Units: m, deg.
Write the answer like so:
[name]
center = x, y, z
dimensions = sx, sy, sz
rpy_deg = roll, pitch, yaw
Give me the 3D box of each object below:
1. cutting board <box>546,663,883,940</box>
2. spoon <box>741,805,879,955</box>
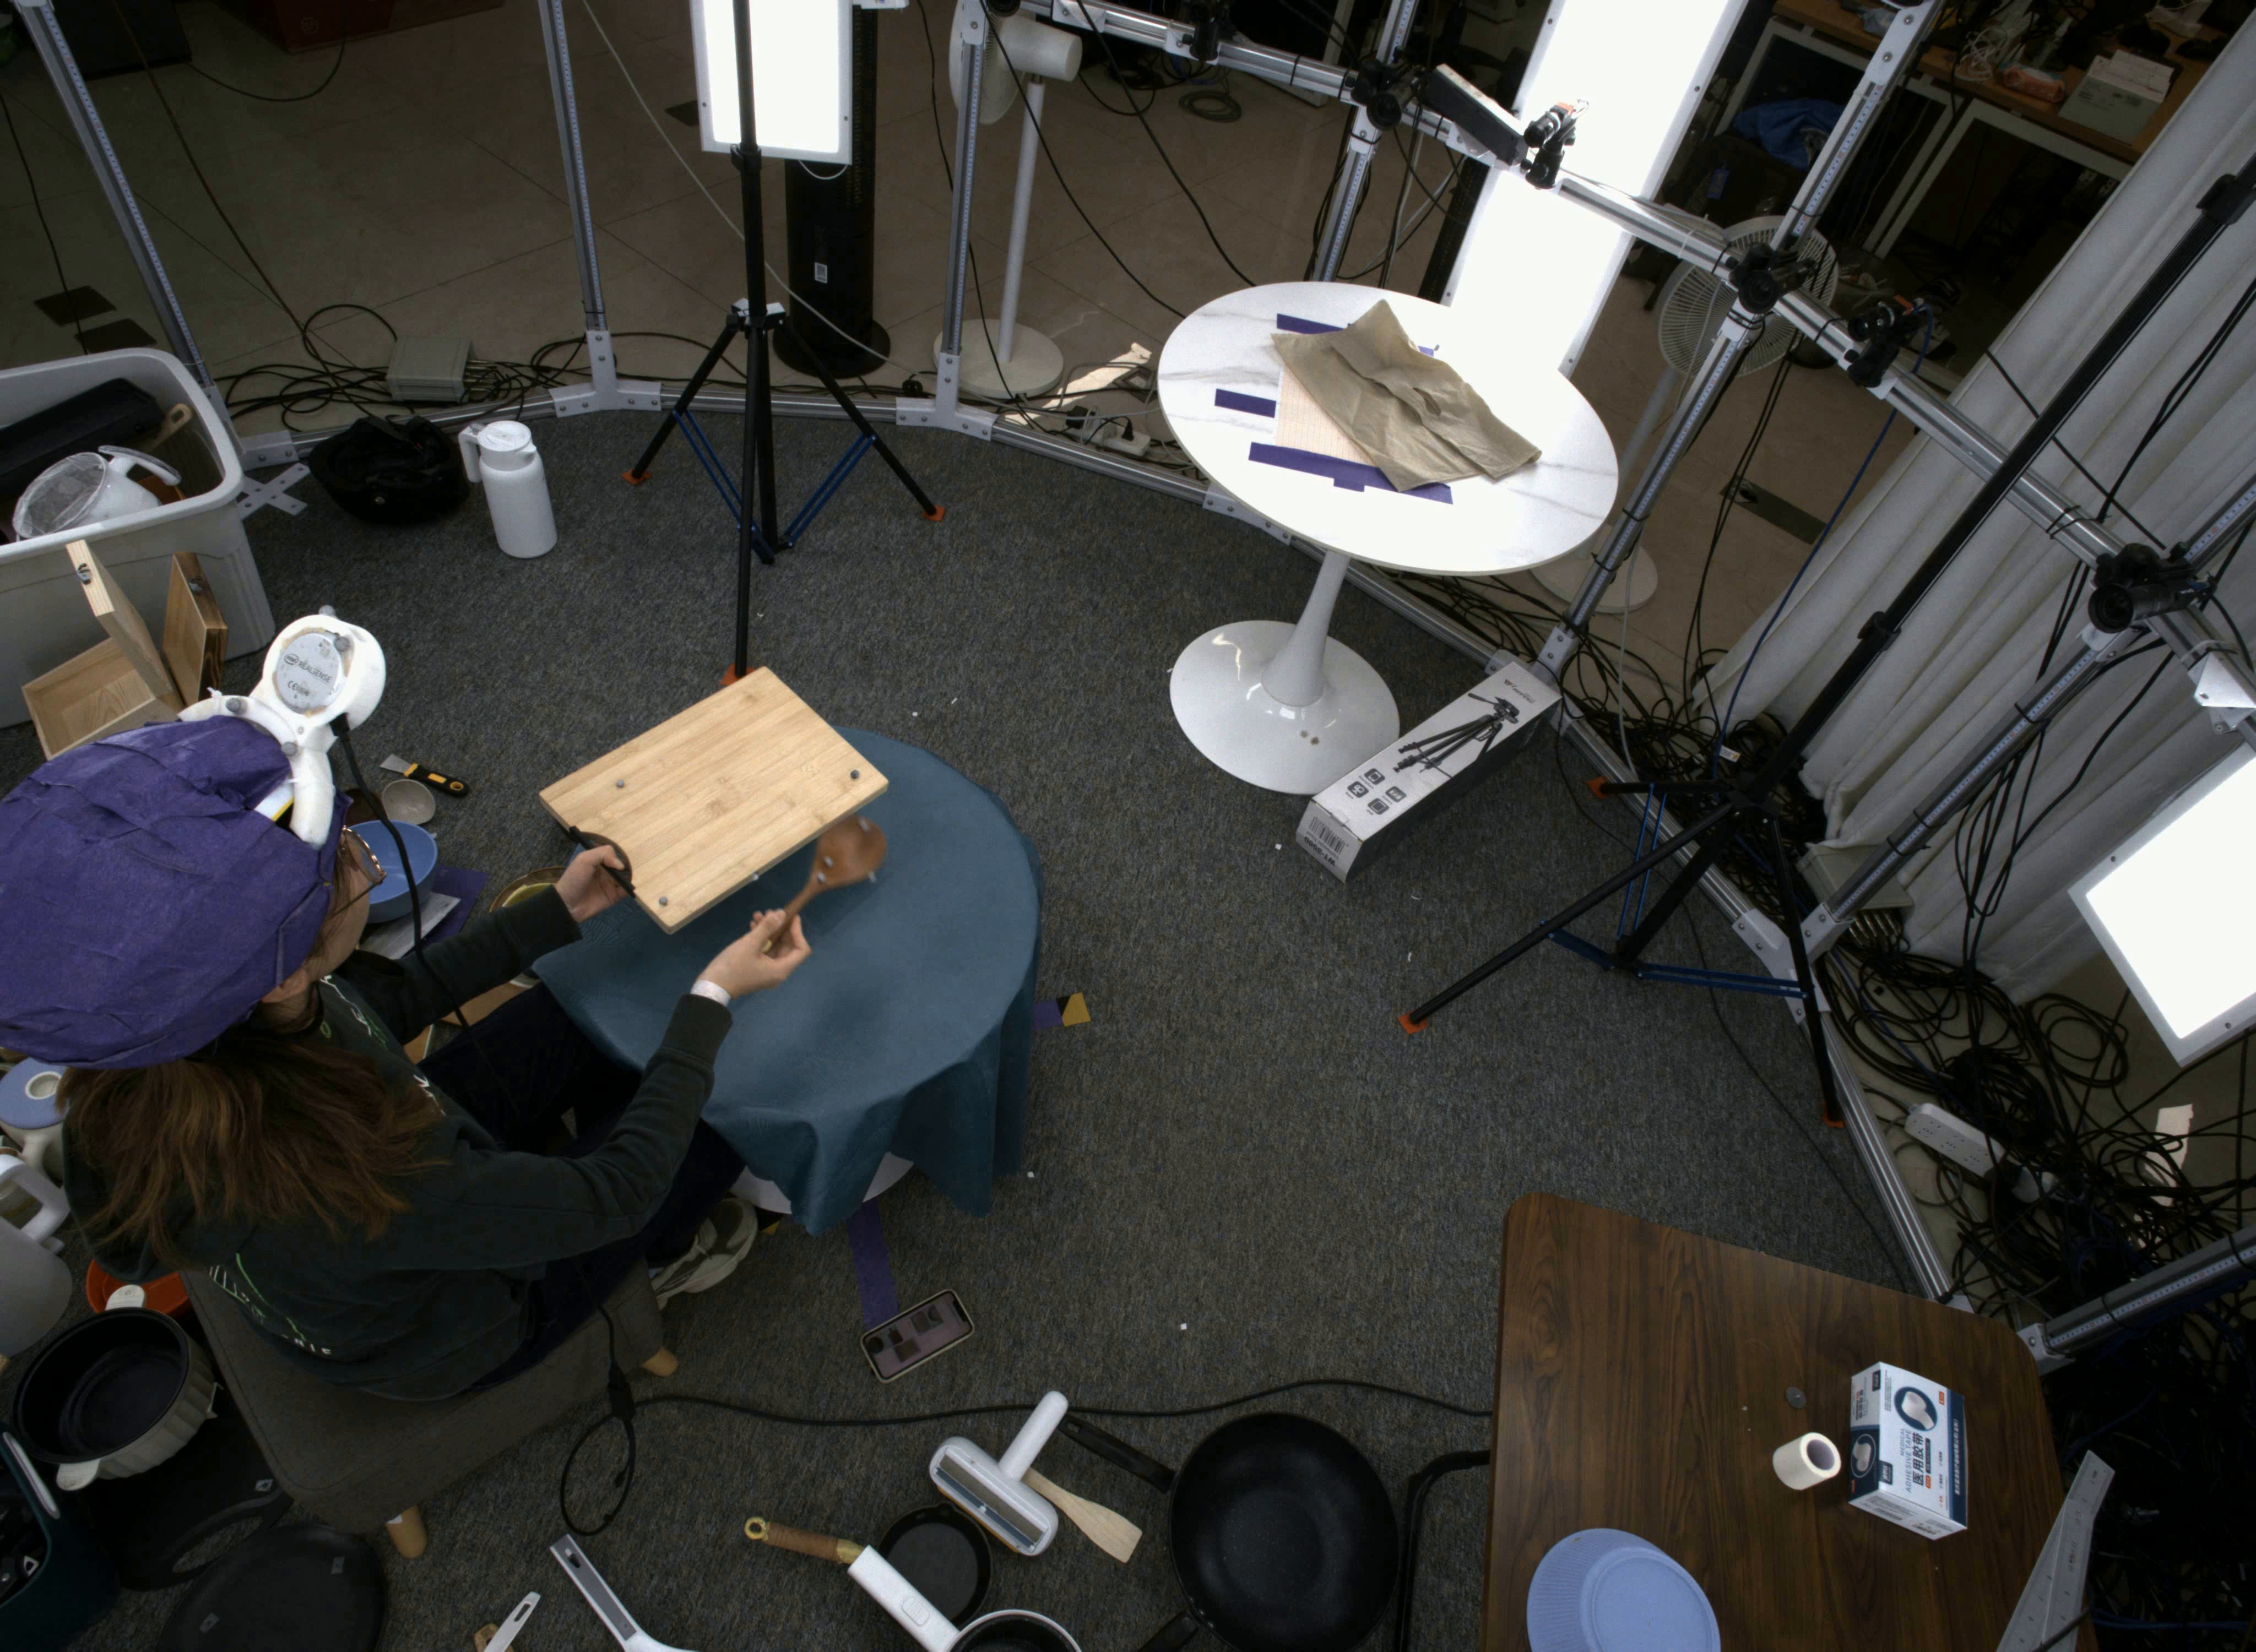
[cutting board]
center = -0.502, -0.042, 1.564
dimensions = 0.247, 0.024, 0.349
rpy_deg = 41, 53, 11
[spoon]
center = -0.358, 0.059, 1.450
dimensions = 0.075, 0.017, 0.215
rpy_deg = 37, 58, -2
